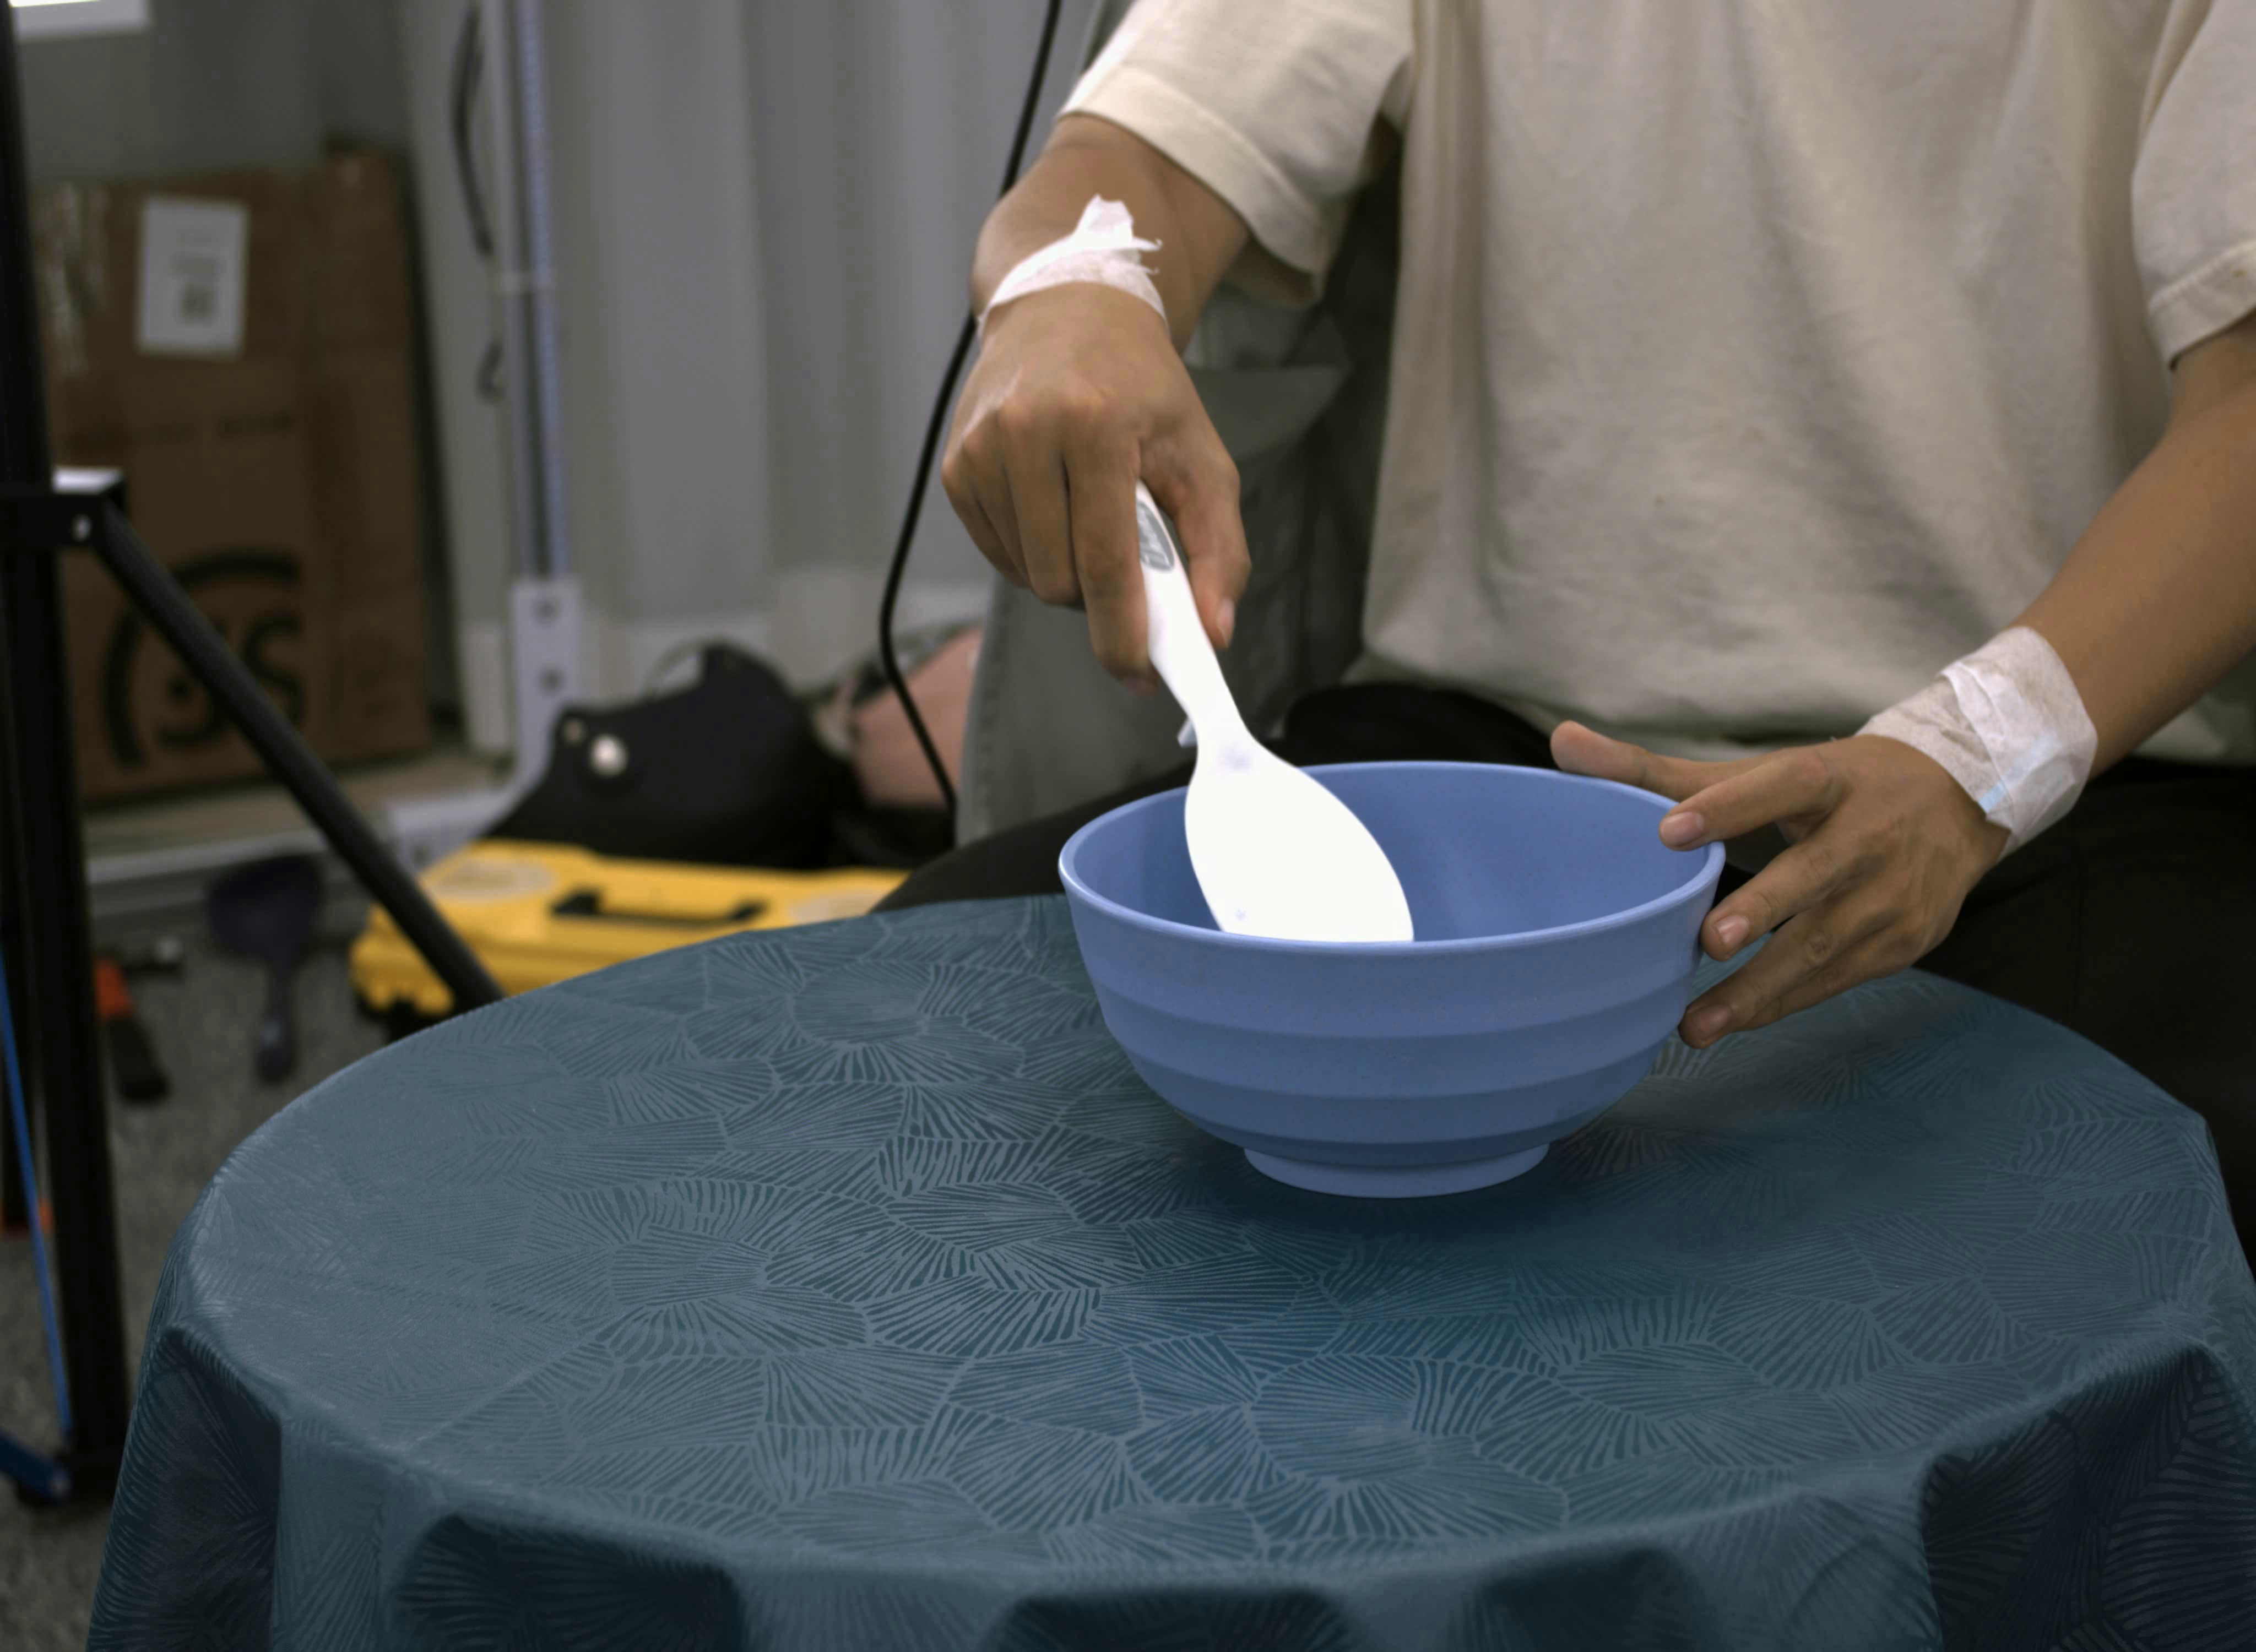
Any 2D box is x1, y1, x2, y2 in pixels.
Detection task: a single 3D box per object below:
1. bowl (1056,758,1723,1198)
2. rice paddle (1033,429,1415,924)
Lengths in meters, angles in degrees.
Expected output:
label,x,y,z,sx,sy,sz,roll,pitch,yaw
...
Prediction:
label,x,y,z,sx,sy,sz,roll,pitch,yaw
bowl,0.079,0.050,1.571,0.195,0.095,0.197,-4,16,0
rice paddle,0.028,-0.033,1.623,0.067,0.029,0.209,-11,59,-31
